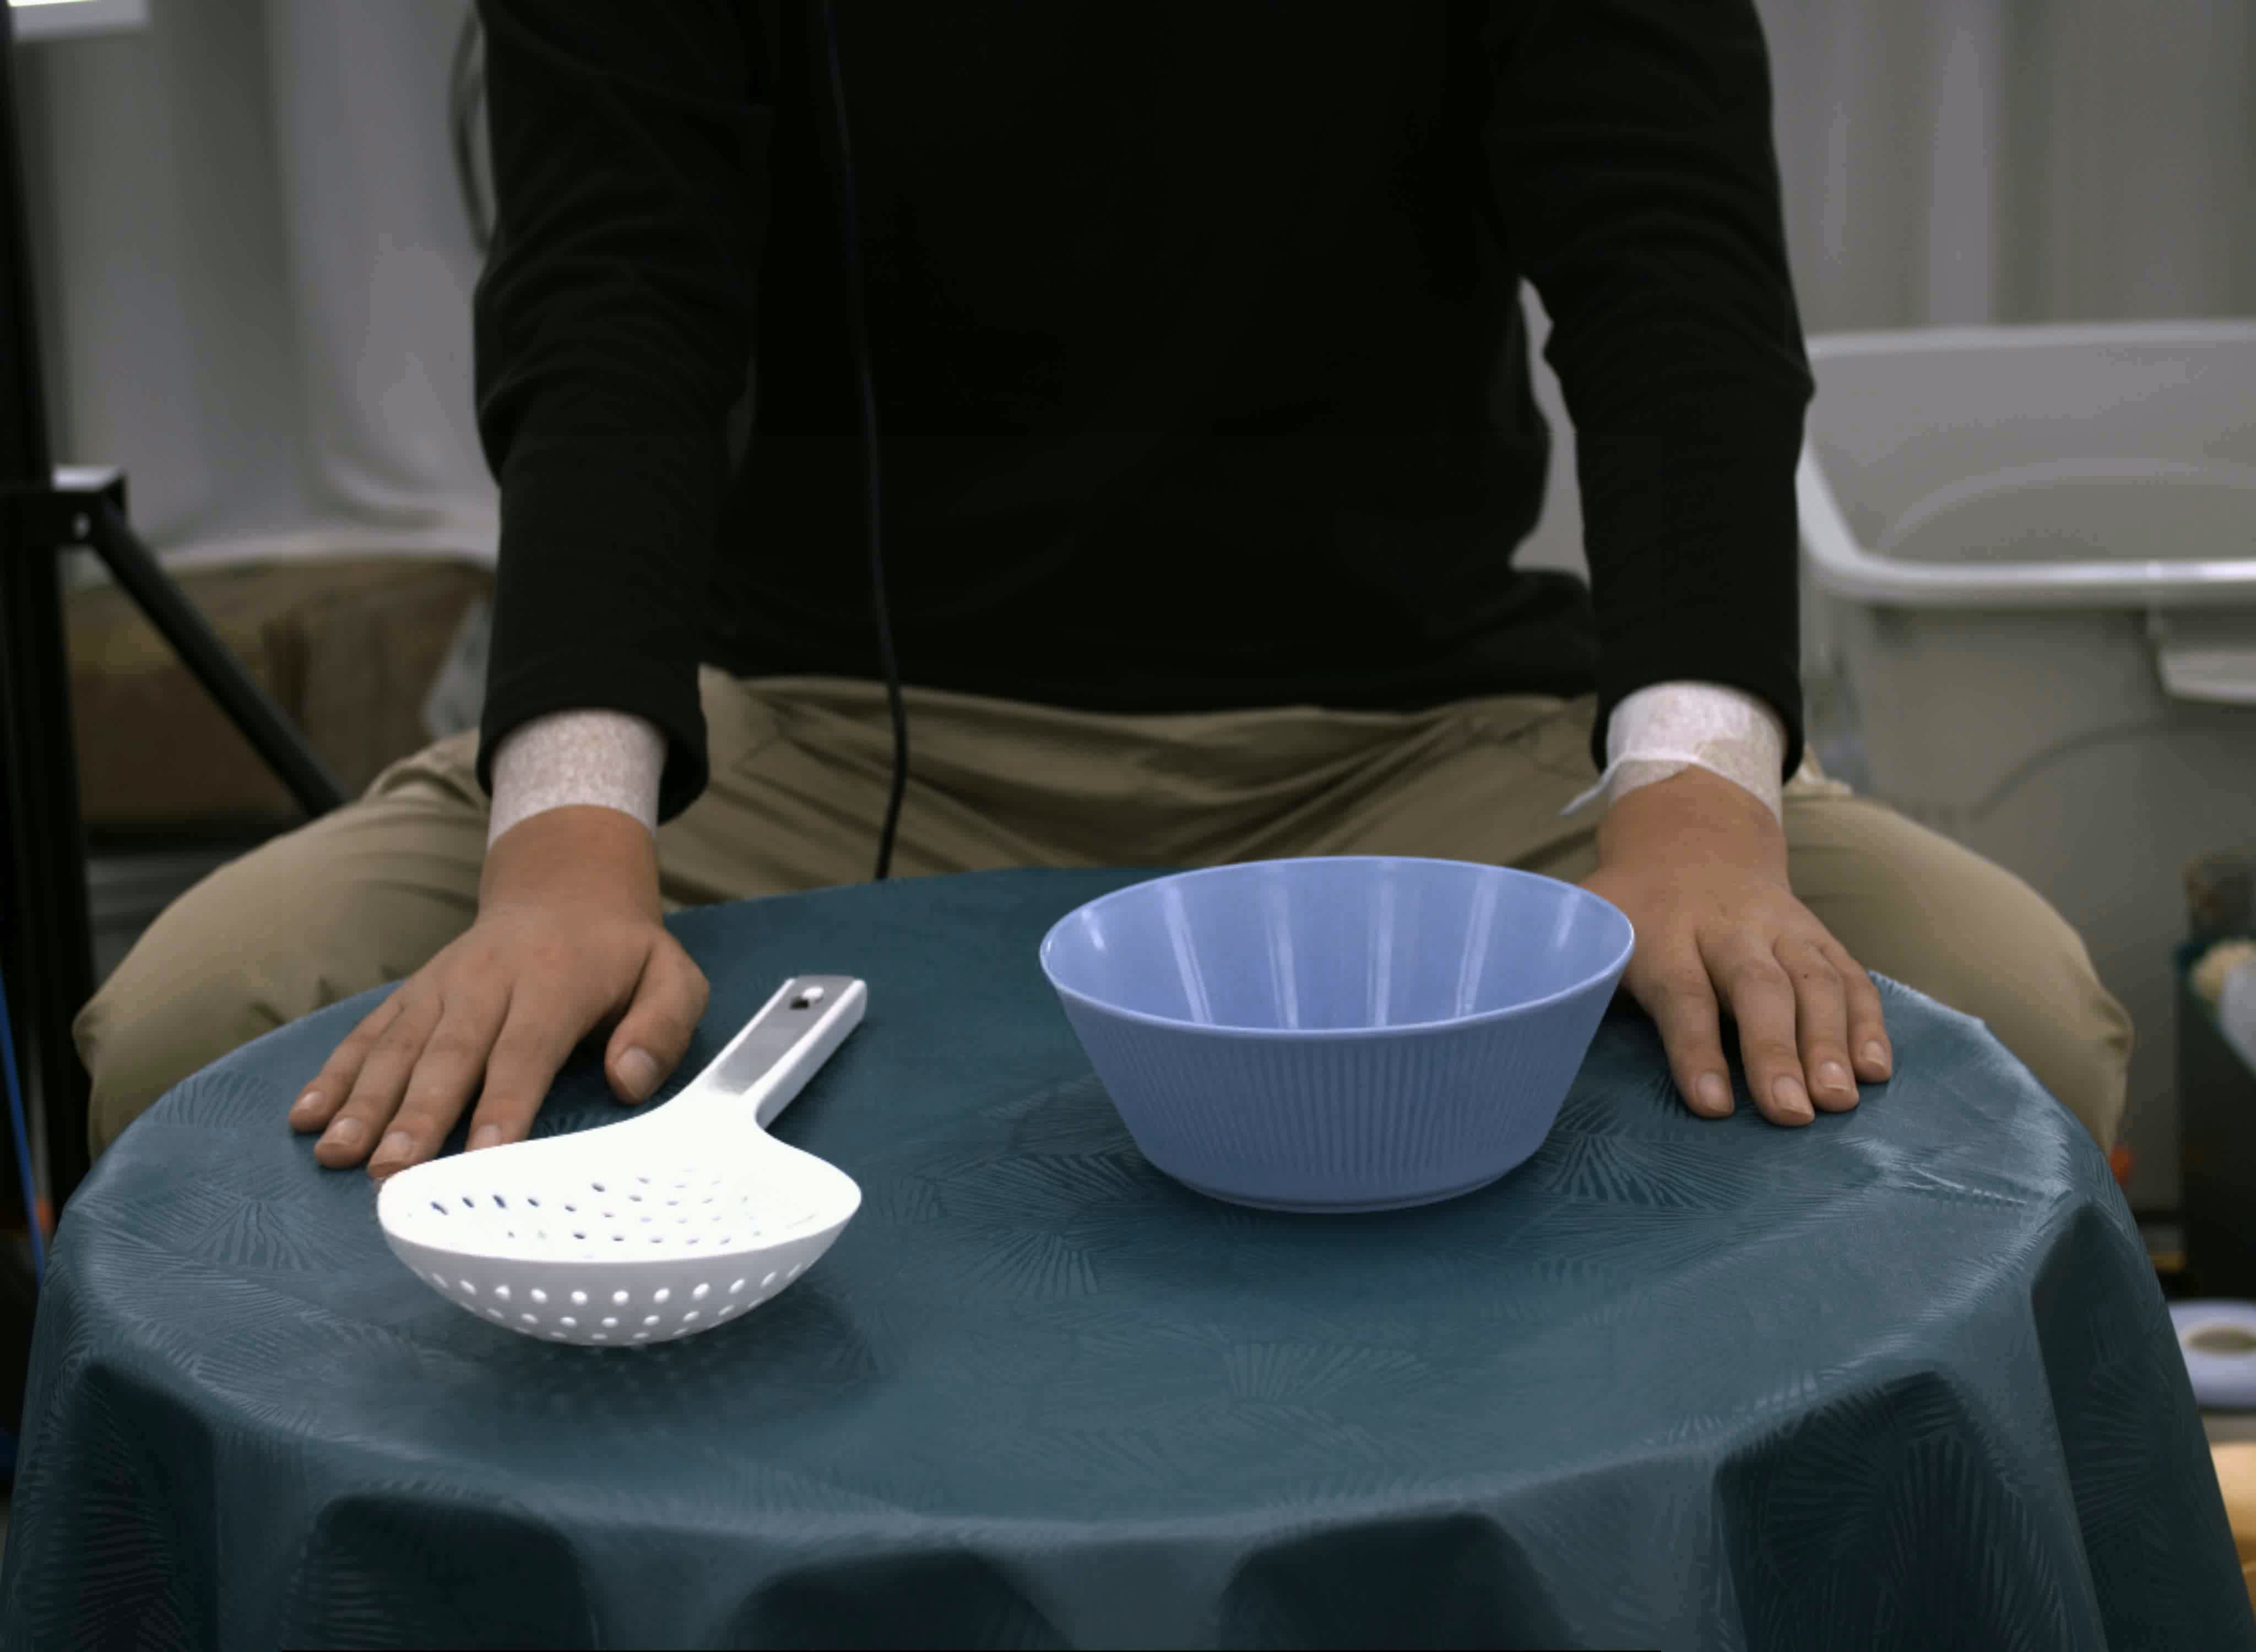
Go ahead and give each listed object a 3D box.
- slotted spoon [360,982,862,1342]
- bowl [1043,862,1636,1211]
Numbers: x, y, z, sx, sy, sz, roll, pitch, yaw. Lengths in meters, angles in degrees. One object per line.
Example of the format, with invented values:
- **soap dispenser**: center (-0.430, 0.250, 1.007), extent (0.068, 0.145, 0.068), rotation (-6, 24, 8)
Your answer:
- **slotted spoon**: center (-0.125, 0.089, 1.563), extent (0.136, 0.046, 0.348), rotation (0, 15, 9)
- **bowl**: center (0.063, 0.064, 1.573), extent (0.175, 0.070, 0.177), rotation (-3, 14, -1)
